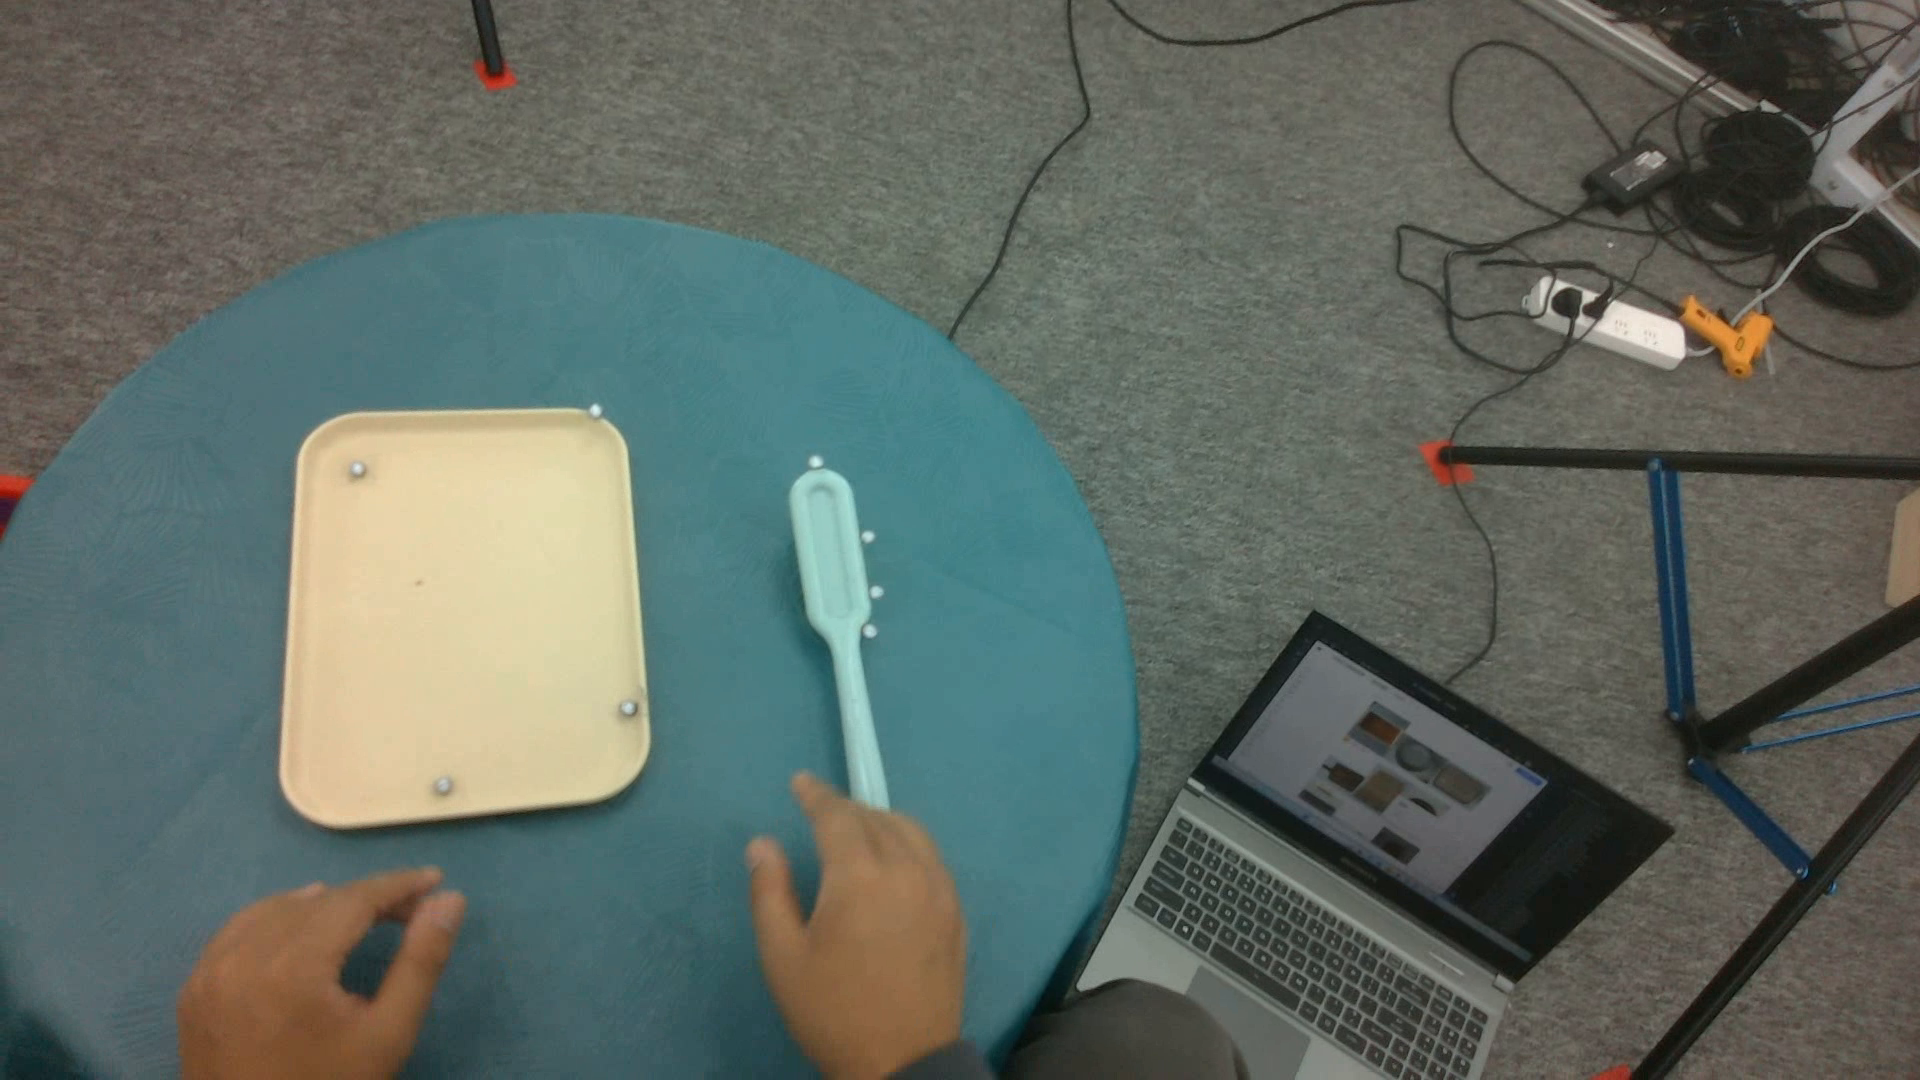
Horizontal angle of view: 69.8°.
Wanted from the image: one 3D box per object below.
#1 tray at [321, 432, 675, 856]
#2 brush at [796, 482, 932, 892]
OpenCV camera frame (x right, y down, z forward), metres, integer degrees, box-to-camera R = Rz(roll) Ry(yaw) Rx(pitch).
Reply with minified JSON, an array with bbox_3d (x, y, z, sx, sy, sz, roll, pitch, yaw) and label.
[{"bbox_3d":[-0.249,0.047,0.739,0.171,0.017,0.240,-6,60,-15],"label":"tray"},{"bbox_3d":[-0.050,0.078,0.755,0.038,0.049,0.229,-14,70,-5],"label":"brush"}]
